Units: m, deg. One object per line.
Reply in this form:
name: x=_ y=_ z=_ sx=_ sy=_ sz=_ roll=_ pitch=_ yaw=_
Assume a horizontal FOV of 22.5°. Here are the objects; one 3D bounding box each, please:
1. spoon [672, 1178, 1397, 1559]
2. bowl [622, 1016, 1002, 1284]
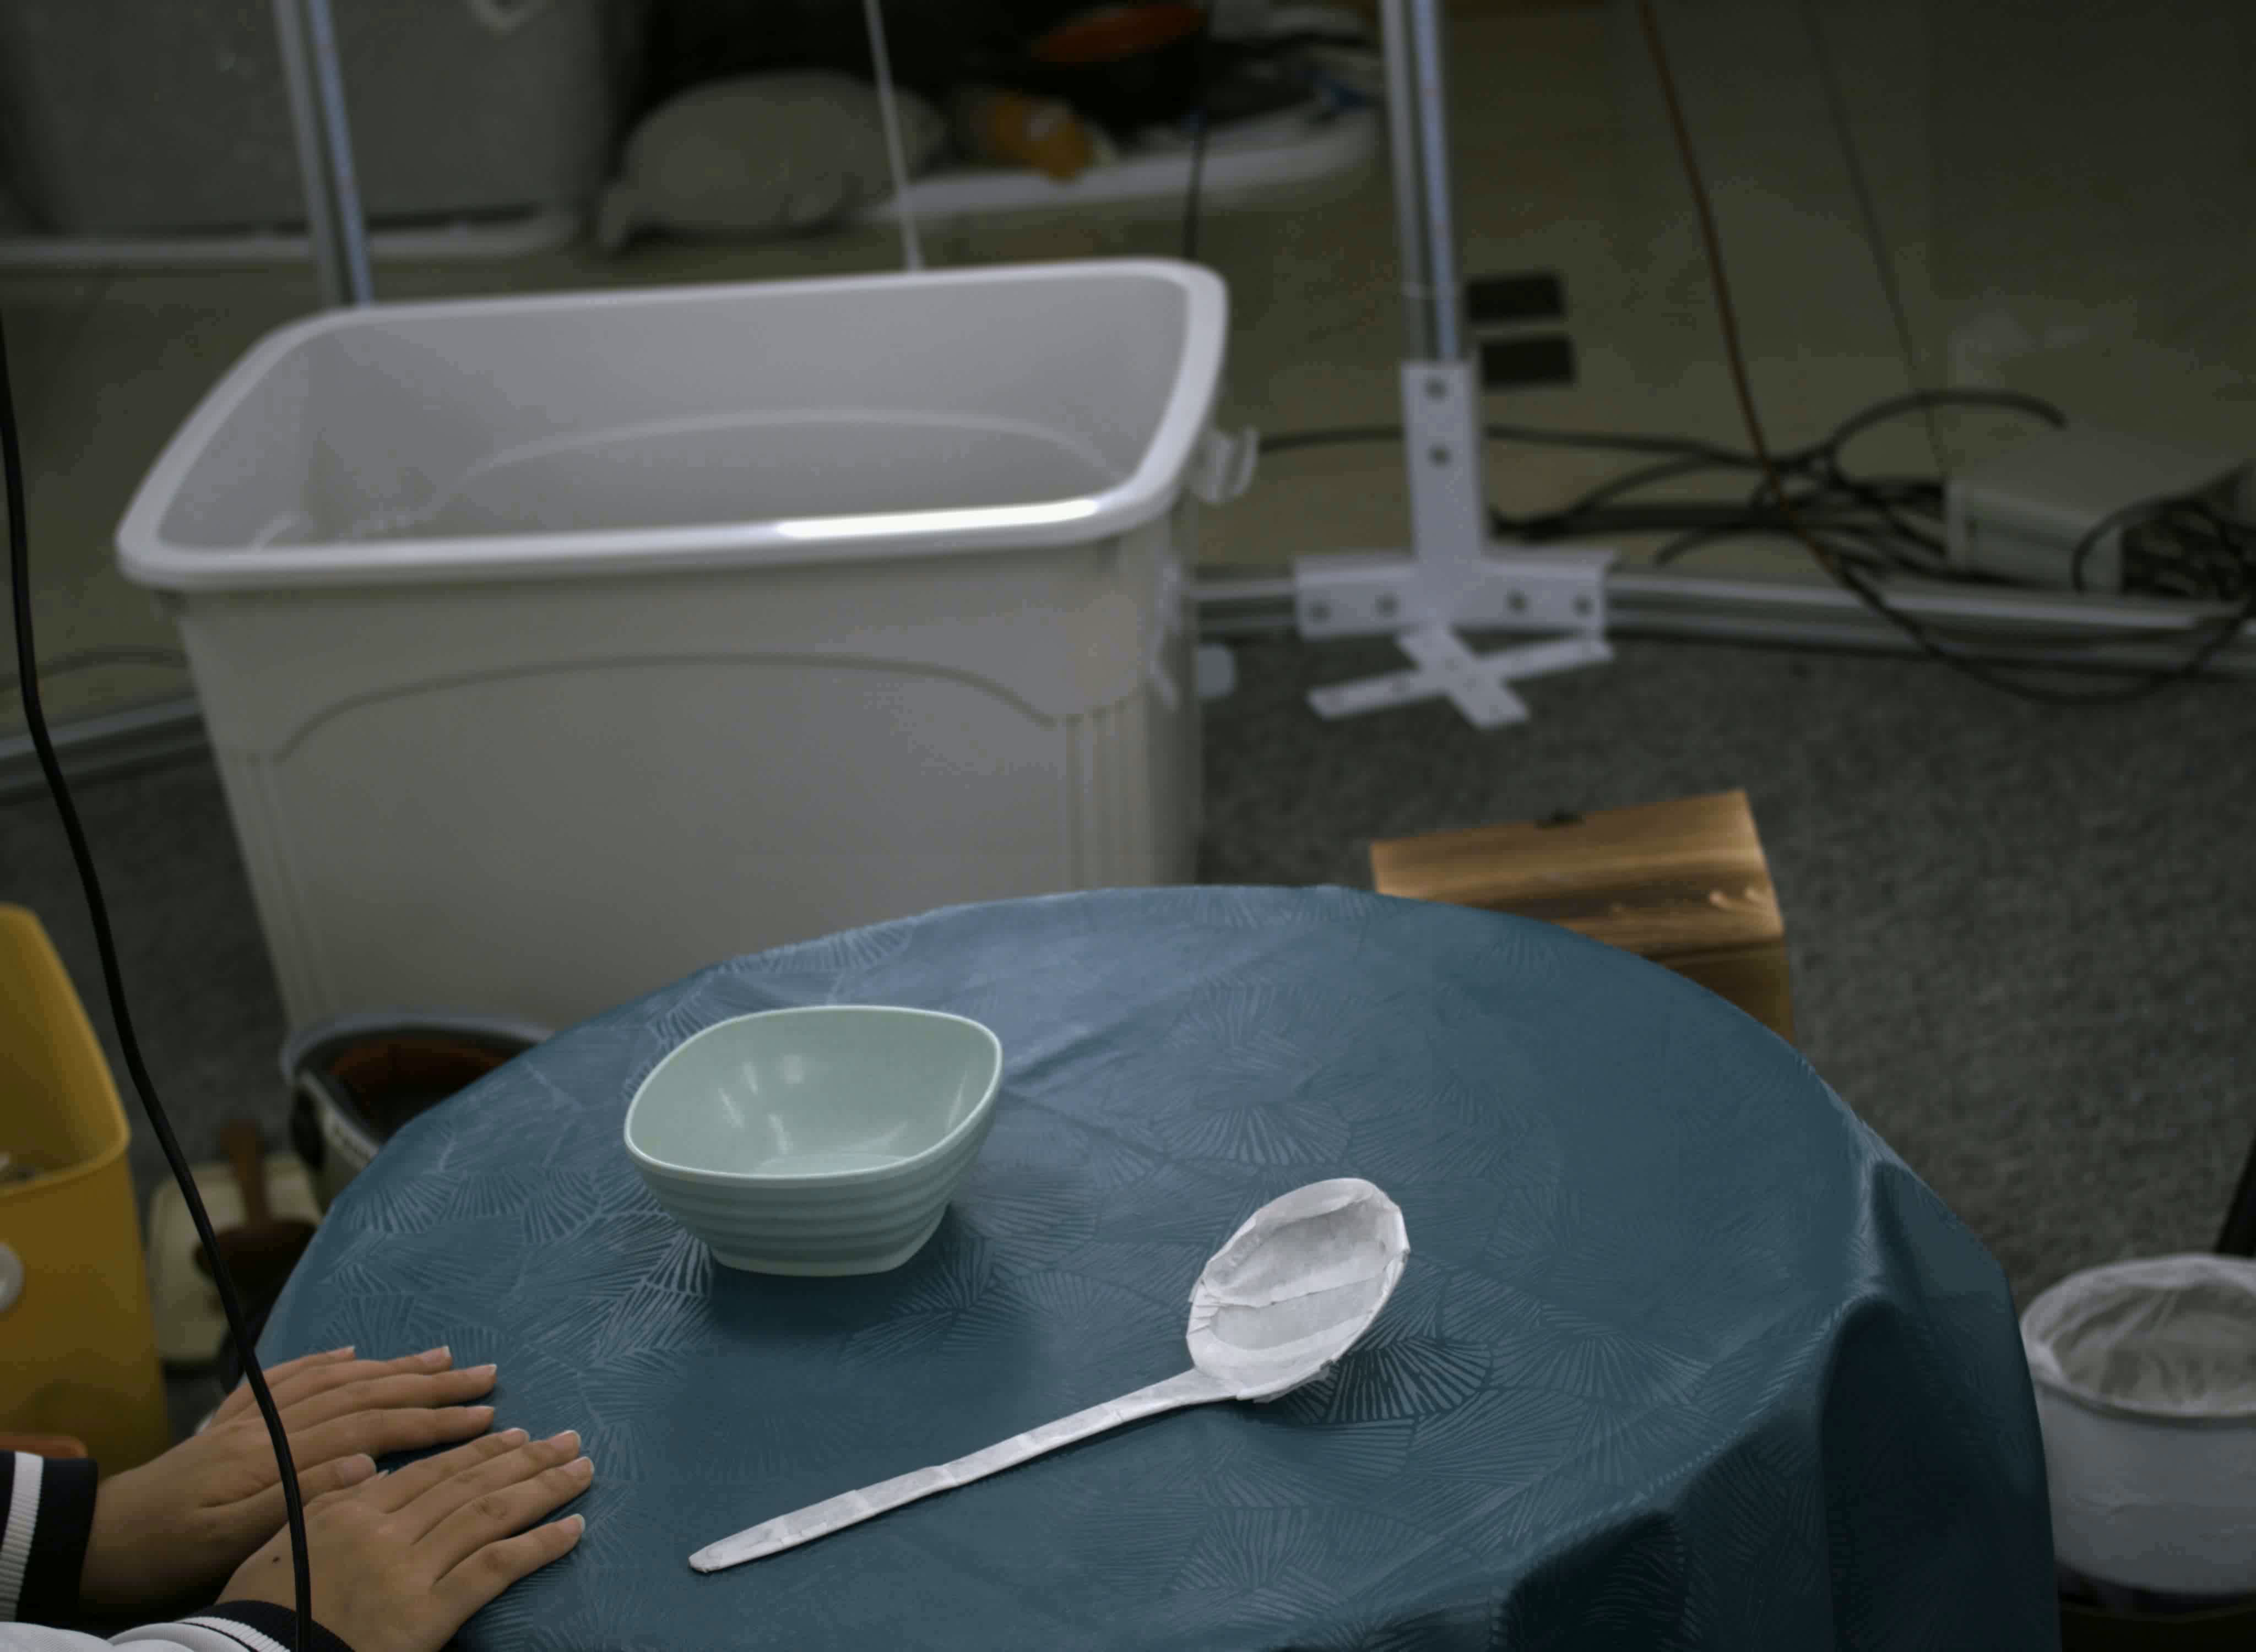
spoon: x=-0.034 y=0.188 z=1.983 sx=0.276 sy=0.060 sz=0.099 roll=-15 pitch=22 yaw=-18
bowl: x=-0.115 y=0.127 z=2.139 sx=0.151 sy=0.059 sz=0.149 roll=-6 pitch=25 yaw=3
